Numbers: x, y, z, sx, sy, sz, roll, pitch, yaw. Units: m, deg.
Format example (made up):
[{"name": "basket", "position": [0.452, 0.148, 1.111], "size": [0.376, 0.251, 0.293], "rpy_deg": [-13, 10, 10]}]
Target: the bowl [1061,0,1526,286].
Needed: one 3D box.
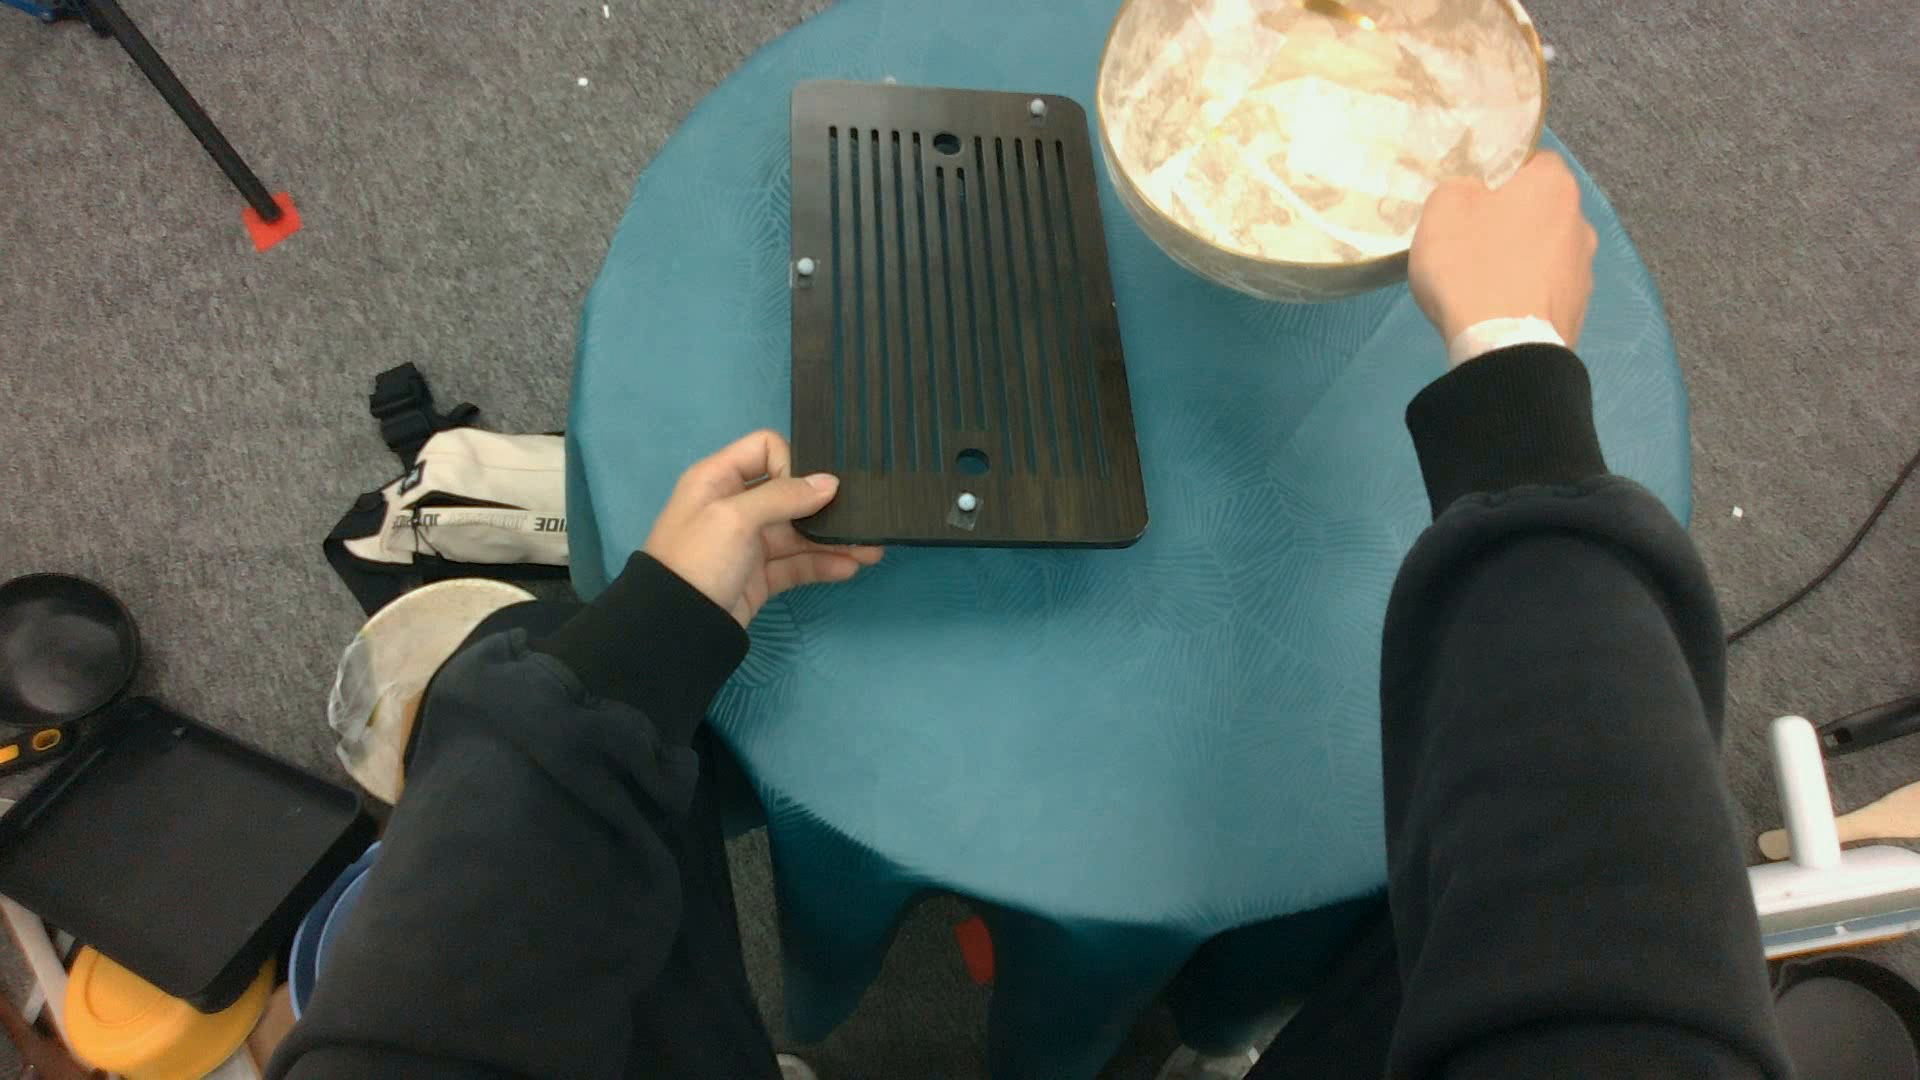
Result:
[{"name": "bowl", "position": [0.151, -0.200, 0.664], "size": [0.214, 0.094, 0.215], "rpy_deg": [-1, 70, 4]}]

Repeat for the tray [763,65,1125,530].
[{"name": "tray", "position": [-0.017, -0.134, 0.716], "size": [0.170, 0.018, 0.307], "rpy_deg": [1, 58, -9]}]
